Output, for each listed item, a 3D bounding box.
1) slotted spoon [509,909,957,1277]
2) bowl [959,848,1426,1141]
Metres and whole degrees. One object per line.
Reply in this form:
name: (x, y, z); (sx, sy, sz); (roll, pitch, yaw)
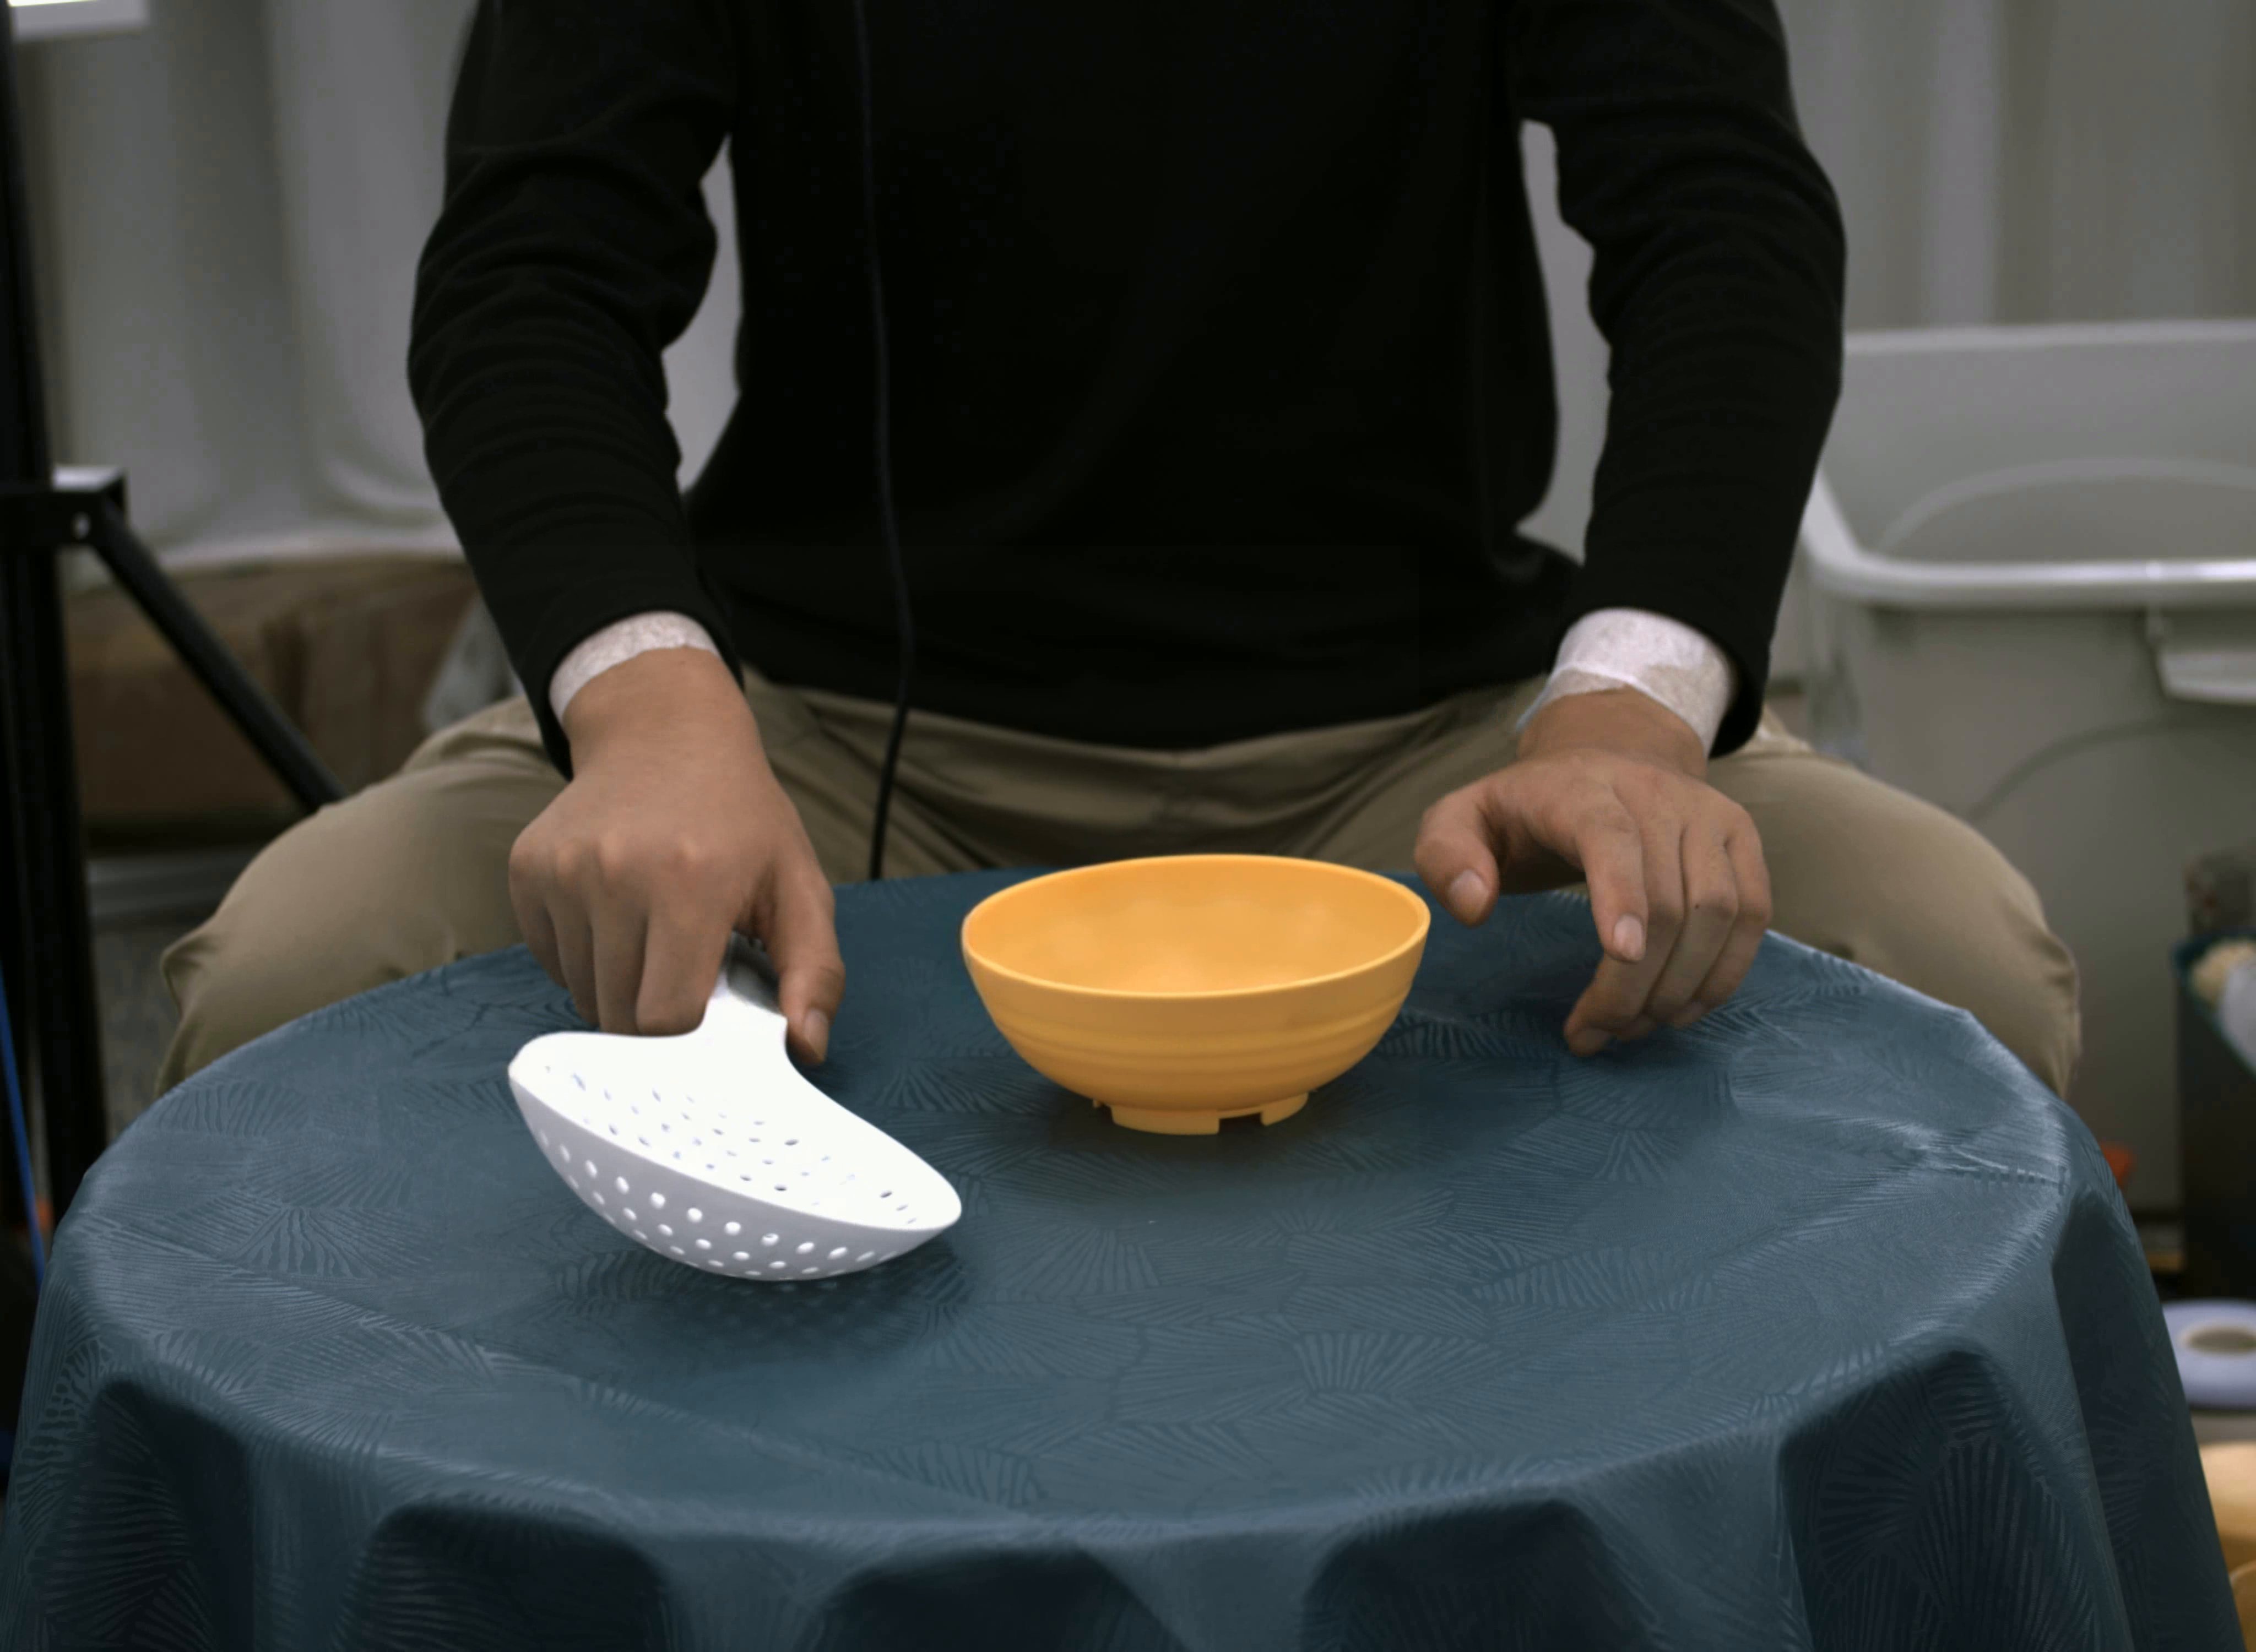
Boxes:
slotted spoon: (-0.119, 0.070, 1.605); (0.135, 0.046, 0.351); (21, 14, -6)
bowl: (0.020, 0.057, 1.630); (0.144, 0.060, 0.146); (-2, 18, -1)
